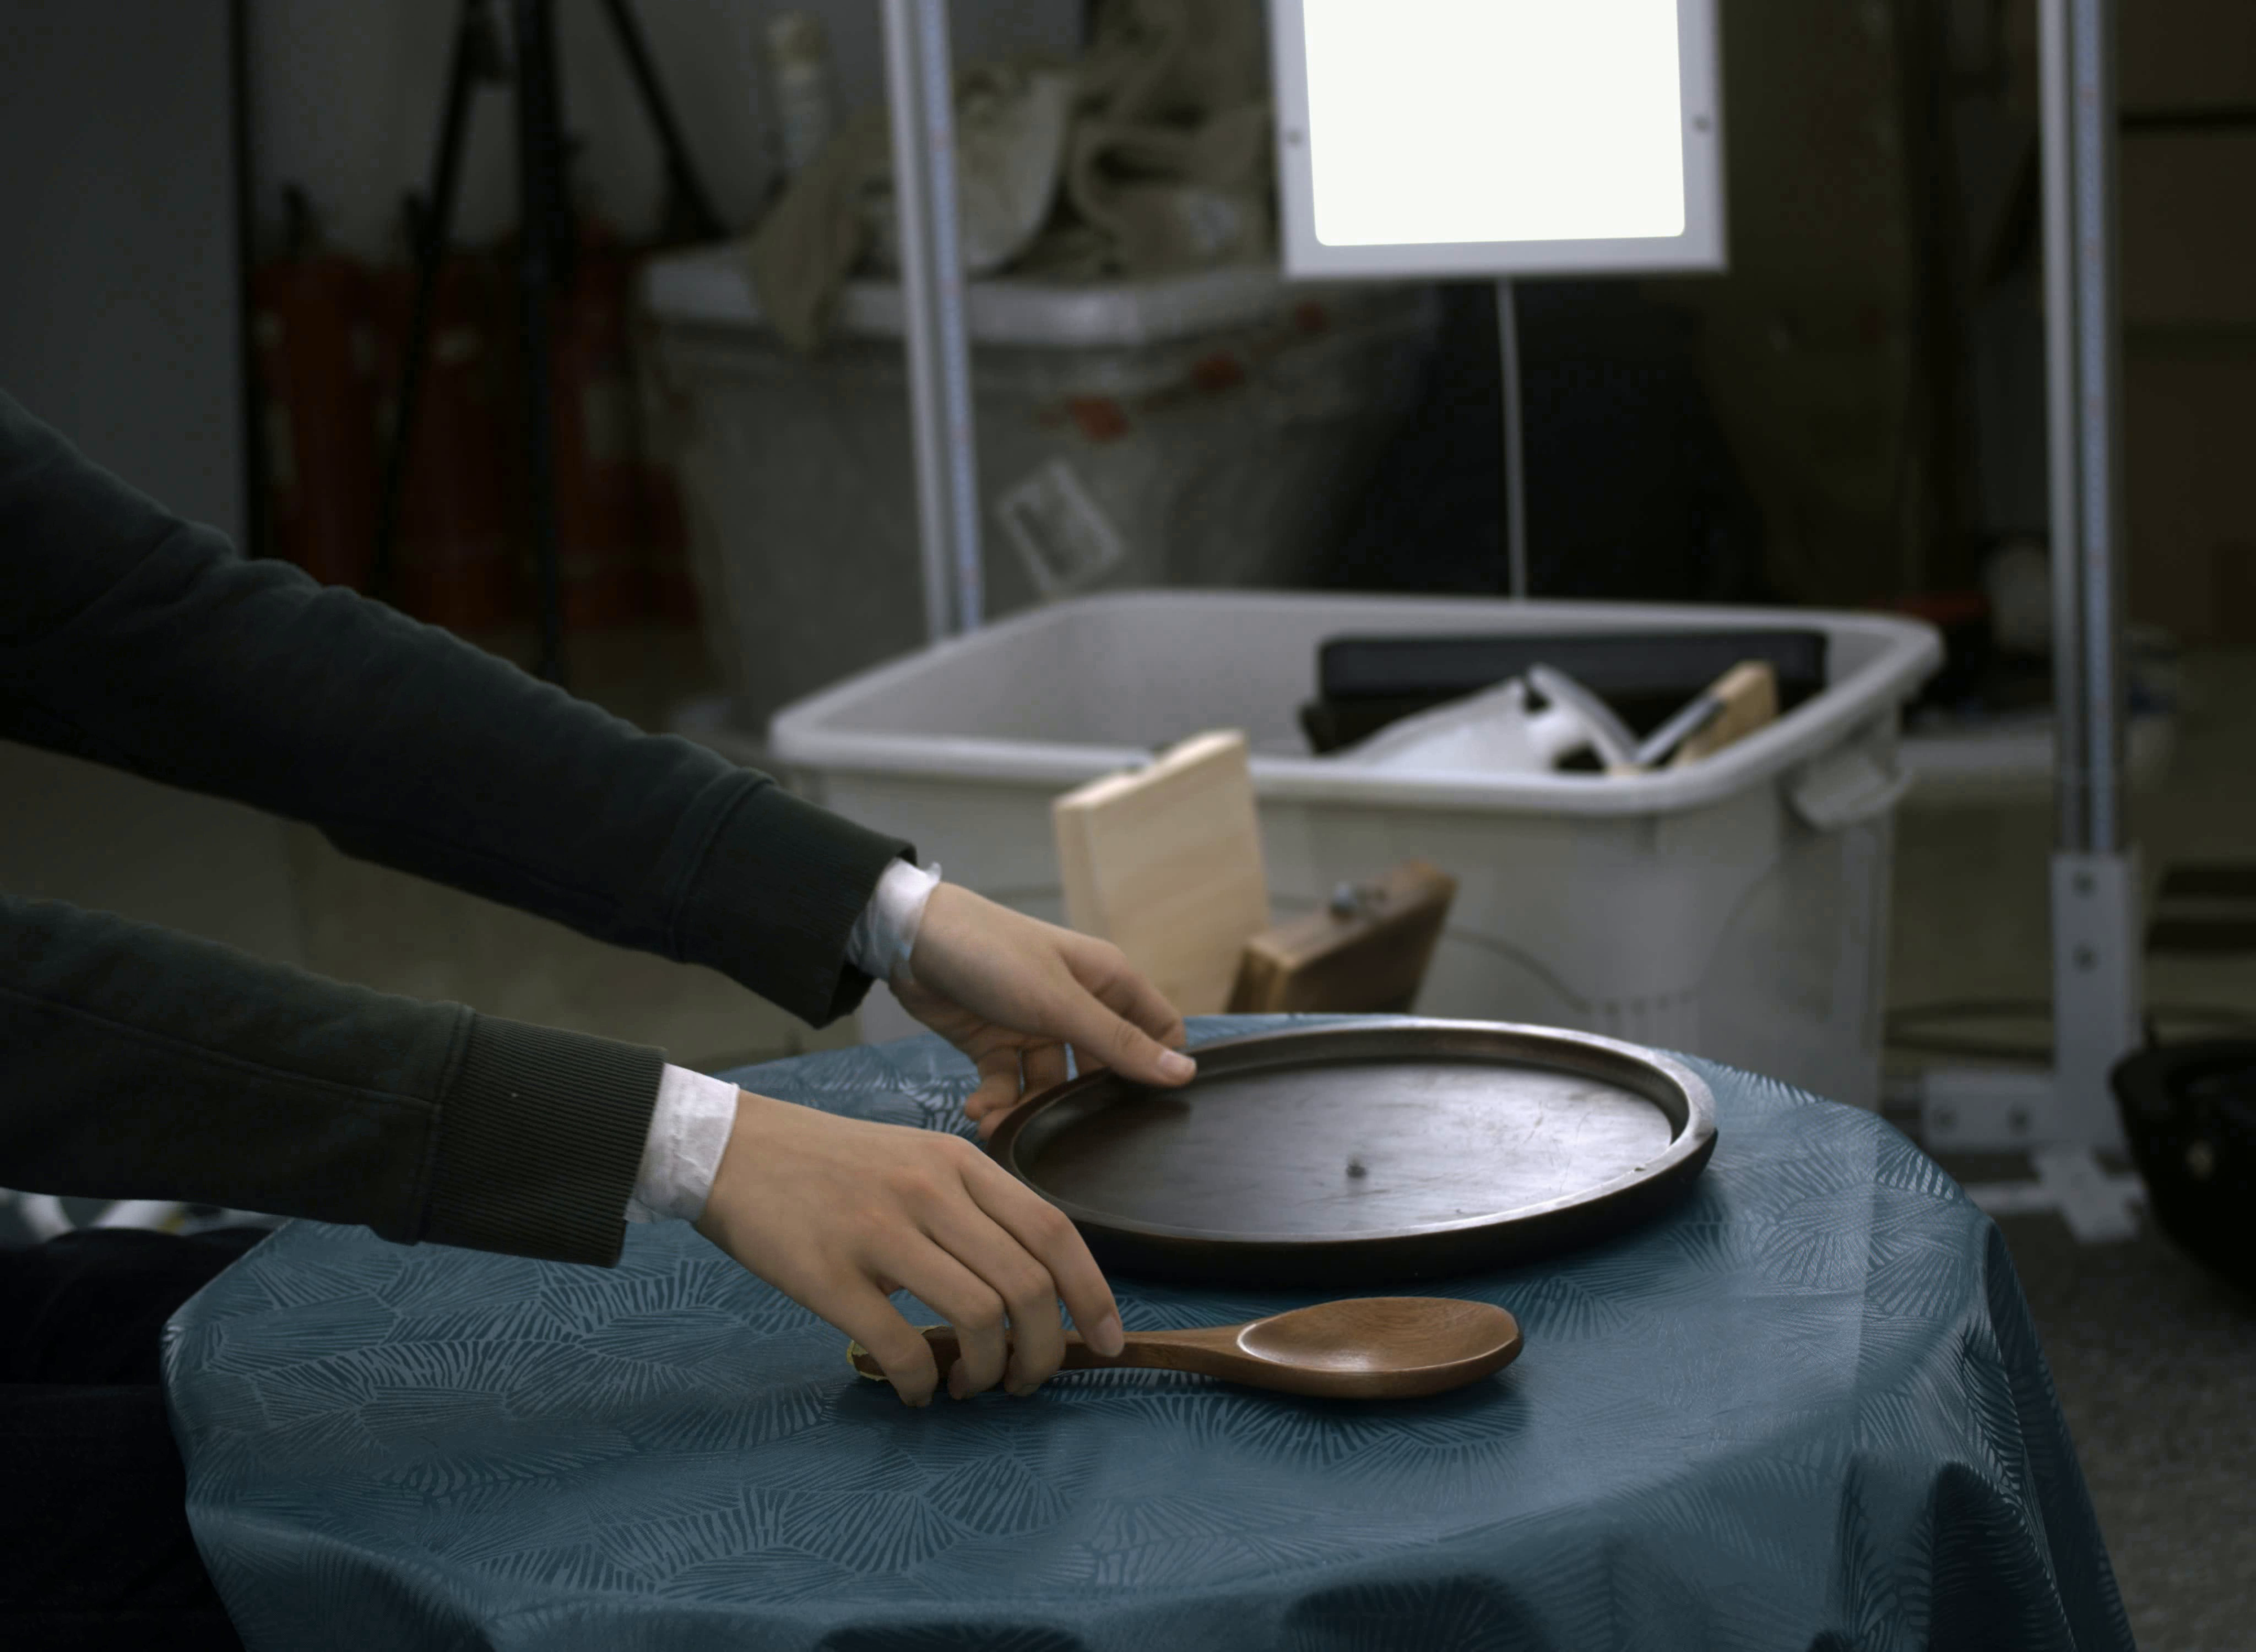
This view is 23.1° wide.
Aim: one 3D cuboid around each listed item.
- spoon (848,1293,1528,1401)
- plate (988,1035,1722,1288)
[{"bbox_3d":[0.018,0.163,1.706,0.218,0.017,0.074,-1,15,16],"label":"spoon"},{"bbox_3d":[0.078,0.112,1.882,0.254,0.029,0.254,-4,13,0],"label":"plate"}]
